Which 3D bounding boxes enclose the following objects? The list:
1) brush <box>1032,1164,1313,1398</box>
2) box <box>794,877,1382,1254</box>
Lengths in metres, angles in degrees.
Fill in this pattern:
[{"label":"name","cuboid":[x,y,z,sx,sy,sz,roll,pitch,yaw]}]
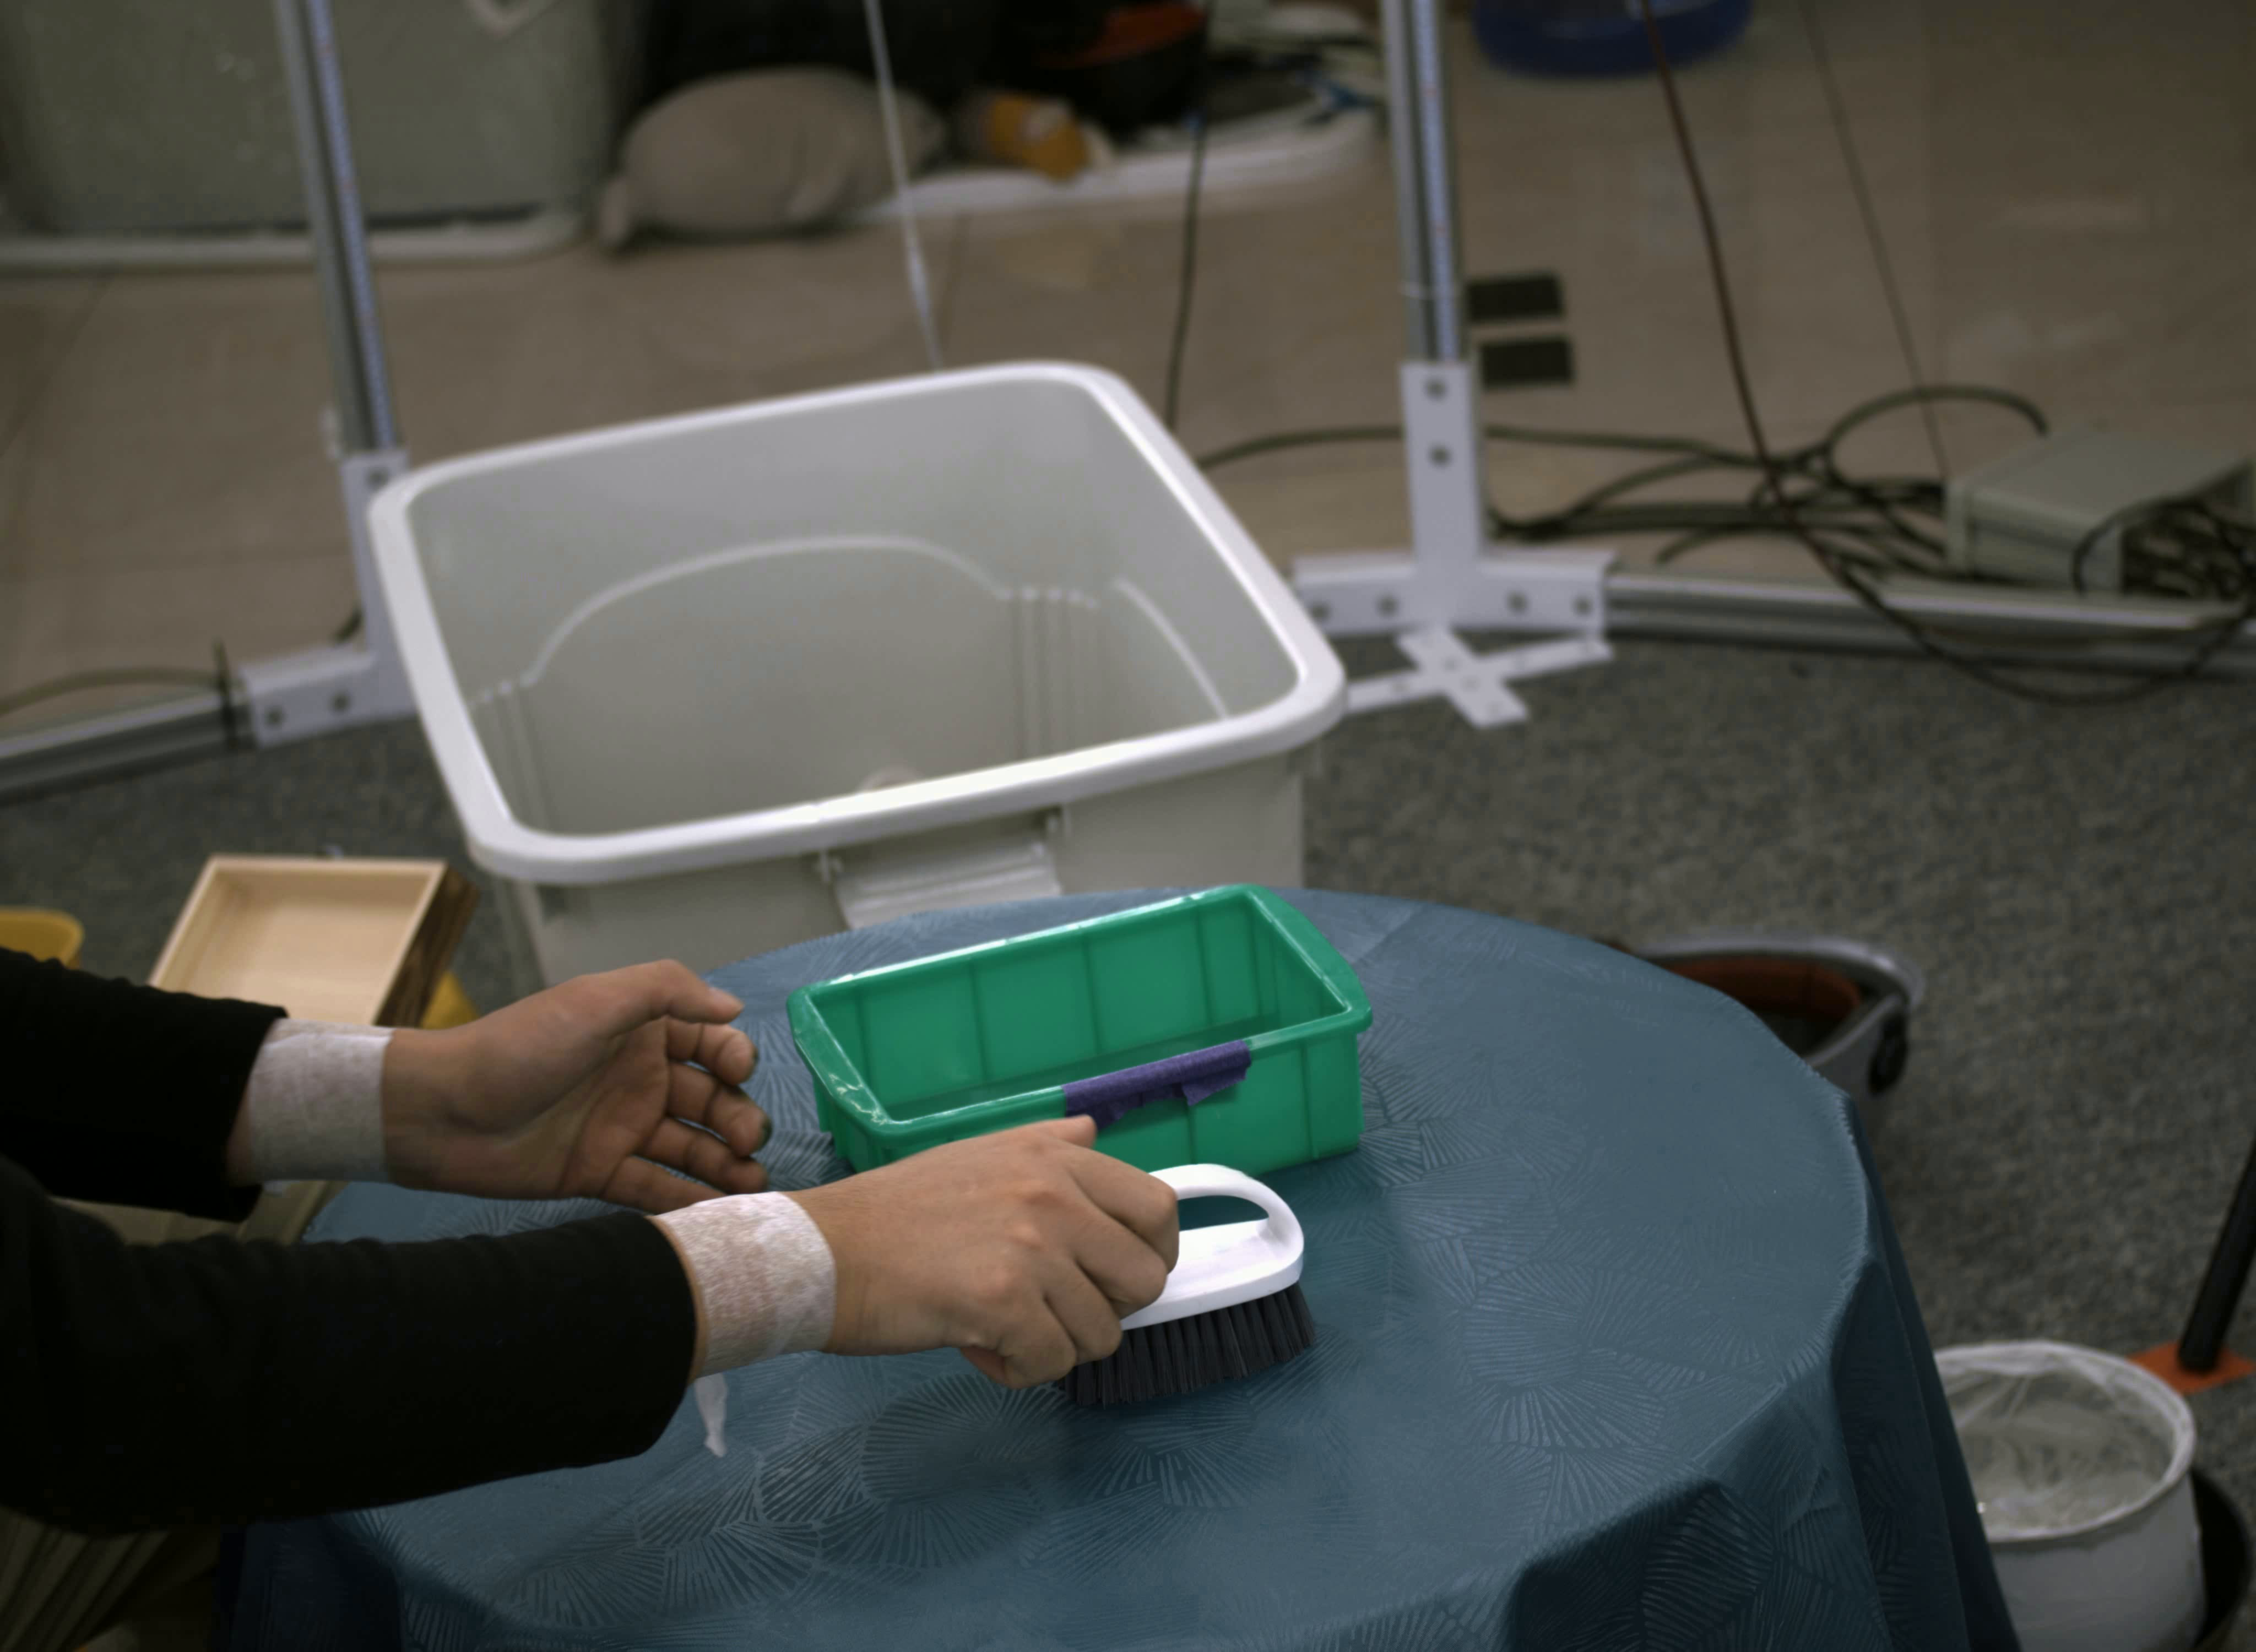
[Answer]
[{"label":"brush","cuboid":[0.014,0.156,2.018,0.099,0.074,0.049,-11,27,-10]},{"label":"box","cuboid":[-0.014,0.093,2.177,0.210,0.066,0.137,-13,28,-16]}]
